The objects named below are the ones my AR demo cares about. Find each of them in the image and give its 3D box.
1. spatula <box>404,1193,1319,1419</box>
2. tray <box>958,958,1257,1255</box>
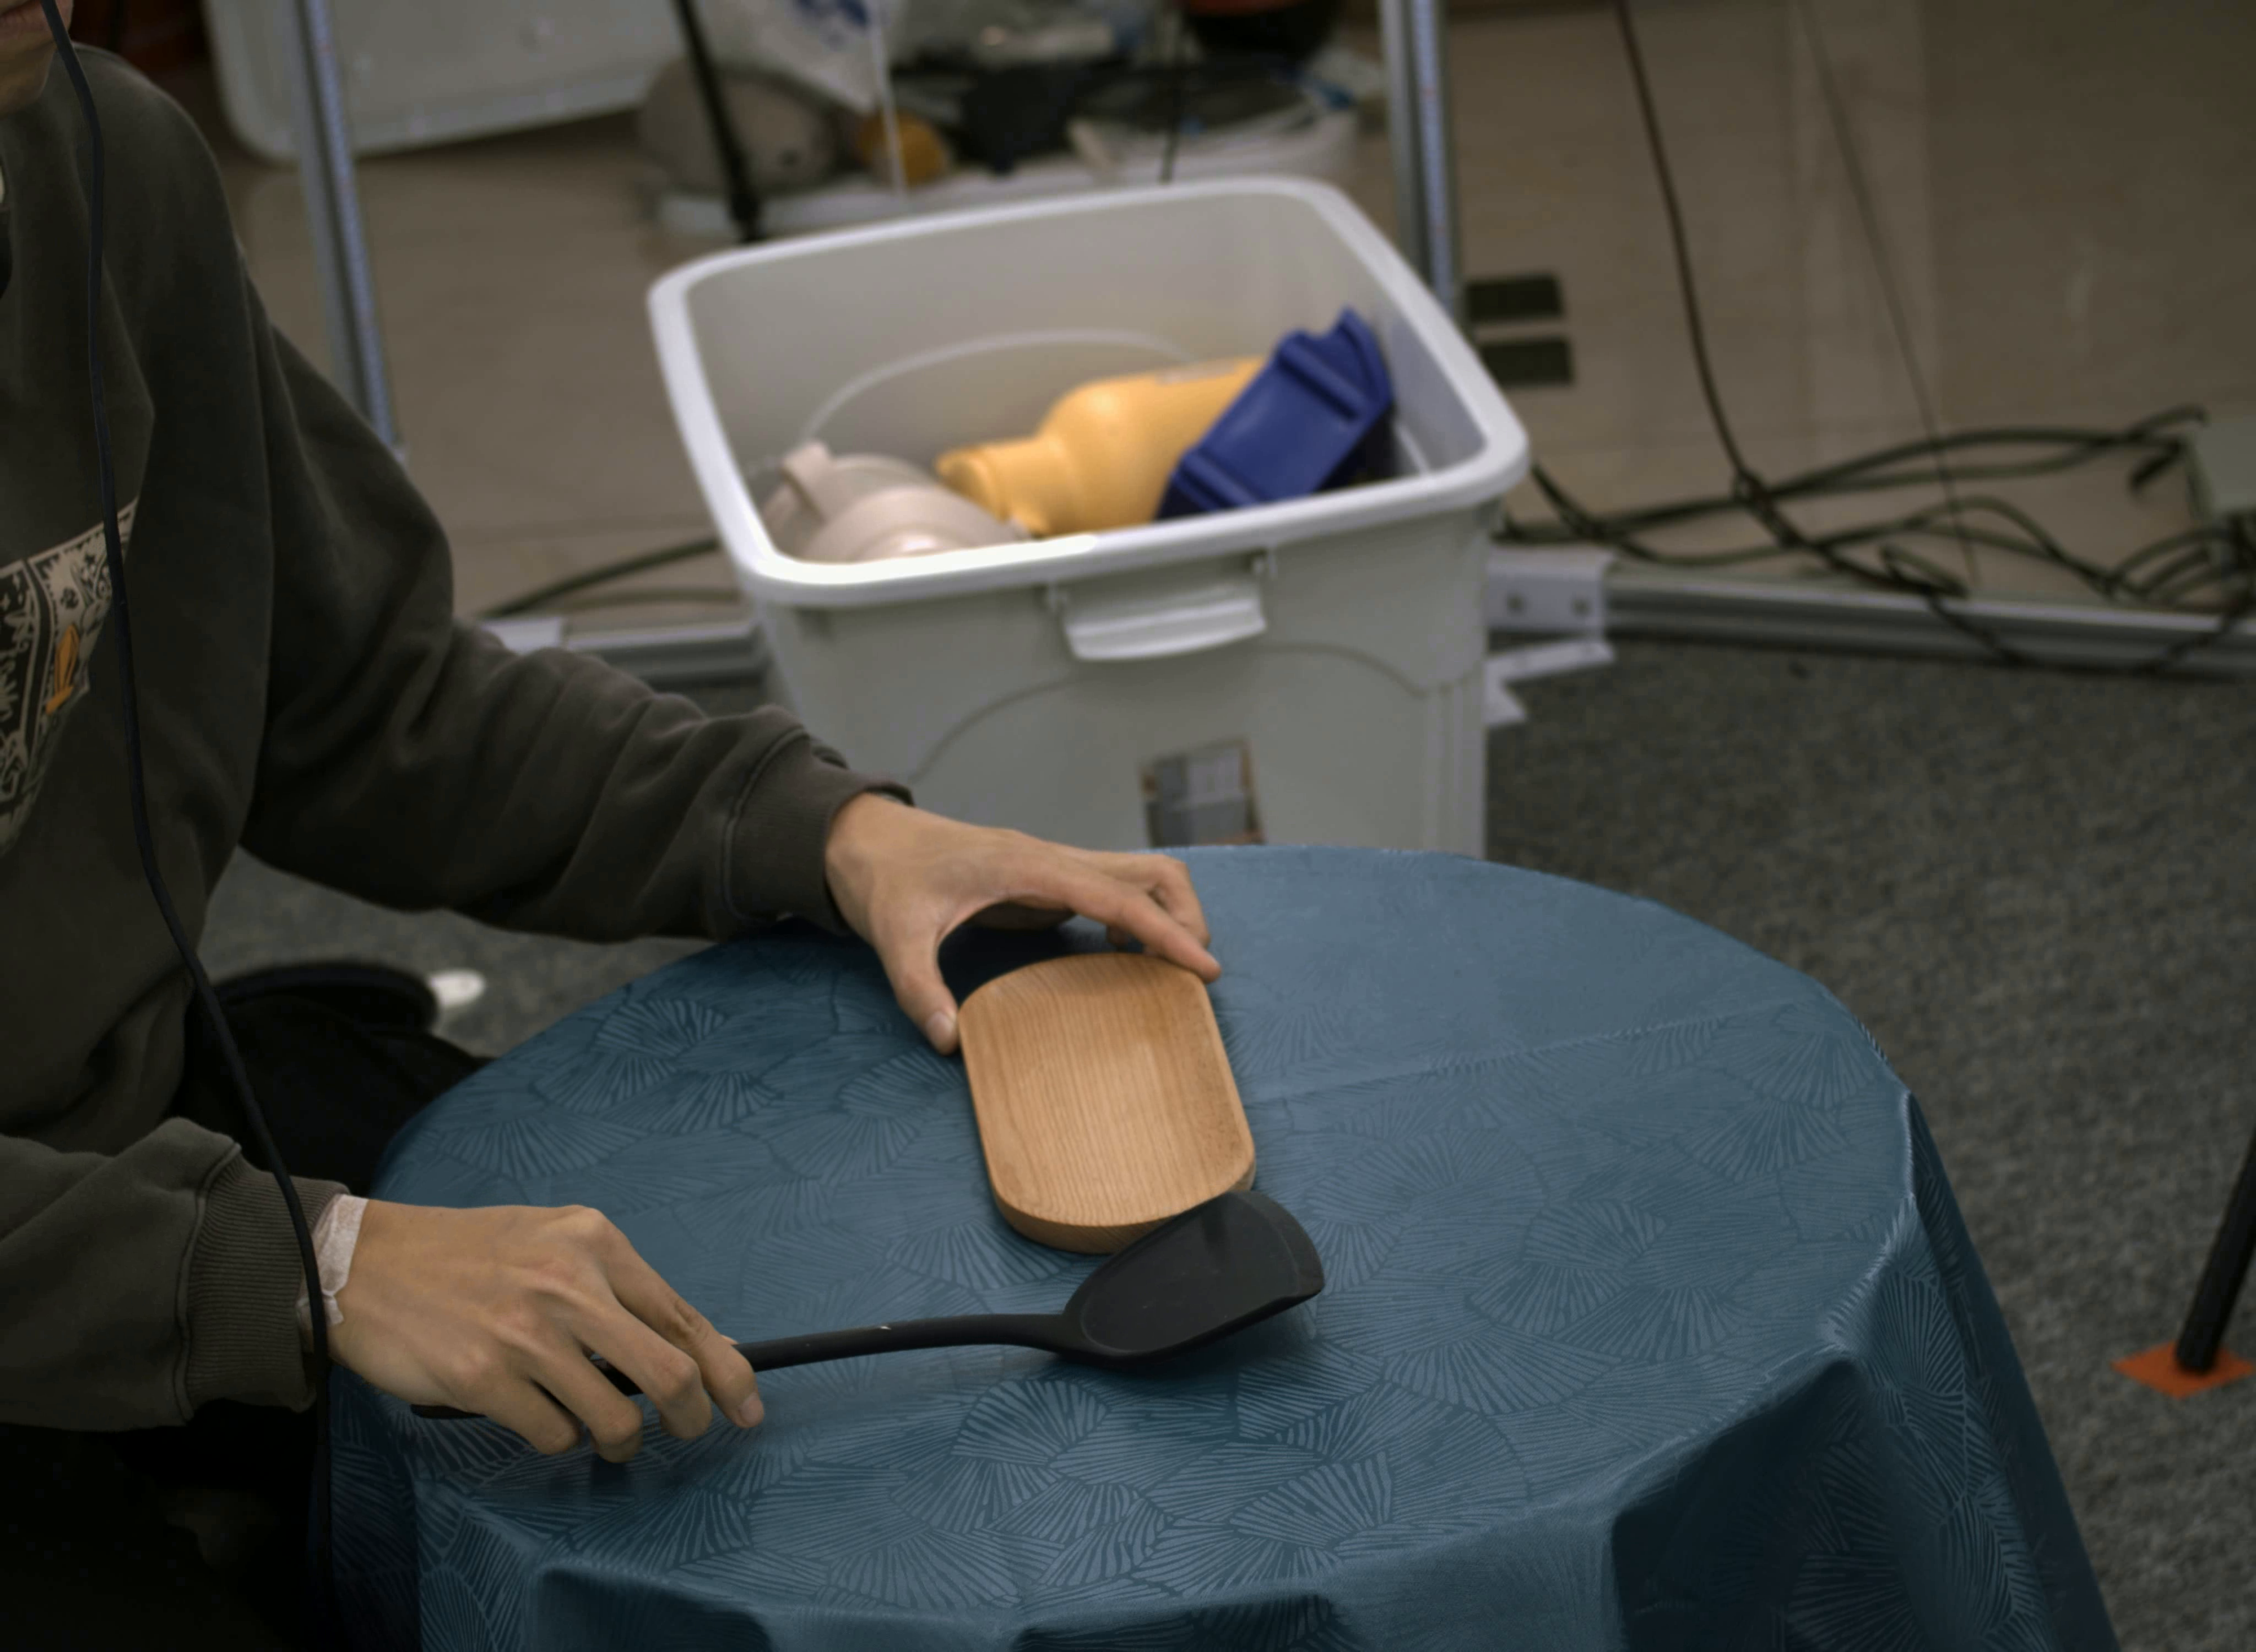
[{"bbox_3d":[-0.095,0.178,2.020,0.325,0.041,0.098,-4,19,-13],"label":"spatula"},{"bbox_3d":[-0.009,0.107,2.199,0.101,0.020,0.228,-9,26,-4],"label":"tray"}]
